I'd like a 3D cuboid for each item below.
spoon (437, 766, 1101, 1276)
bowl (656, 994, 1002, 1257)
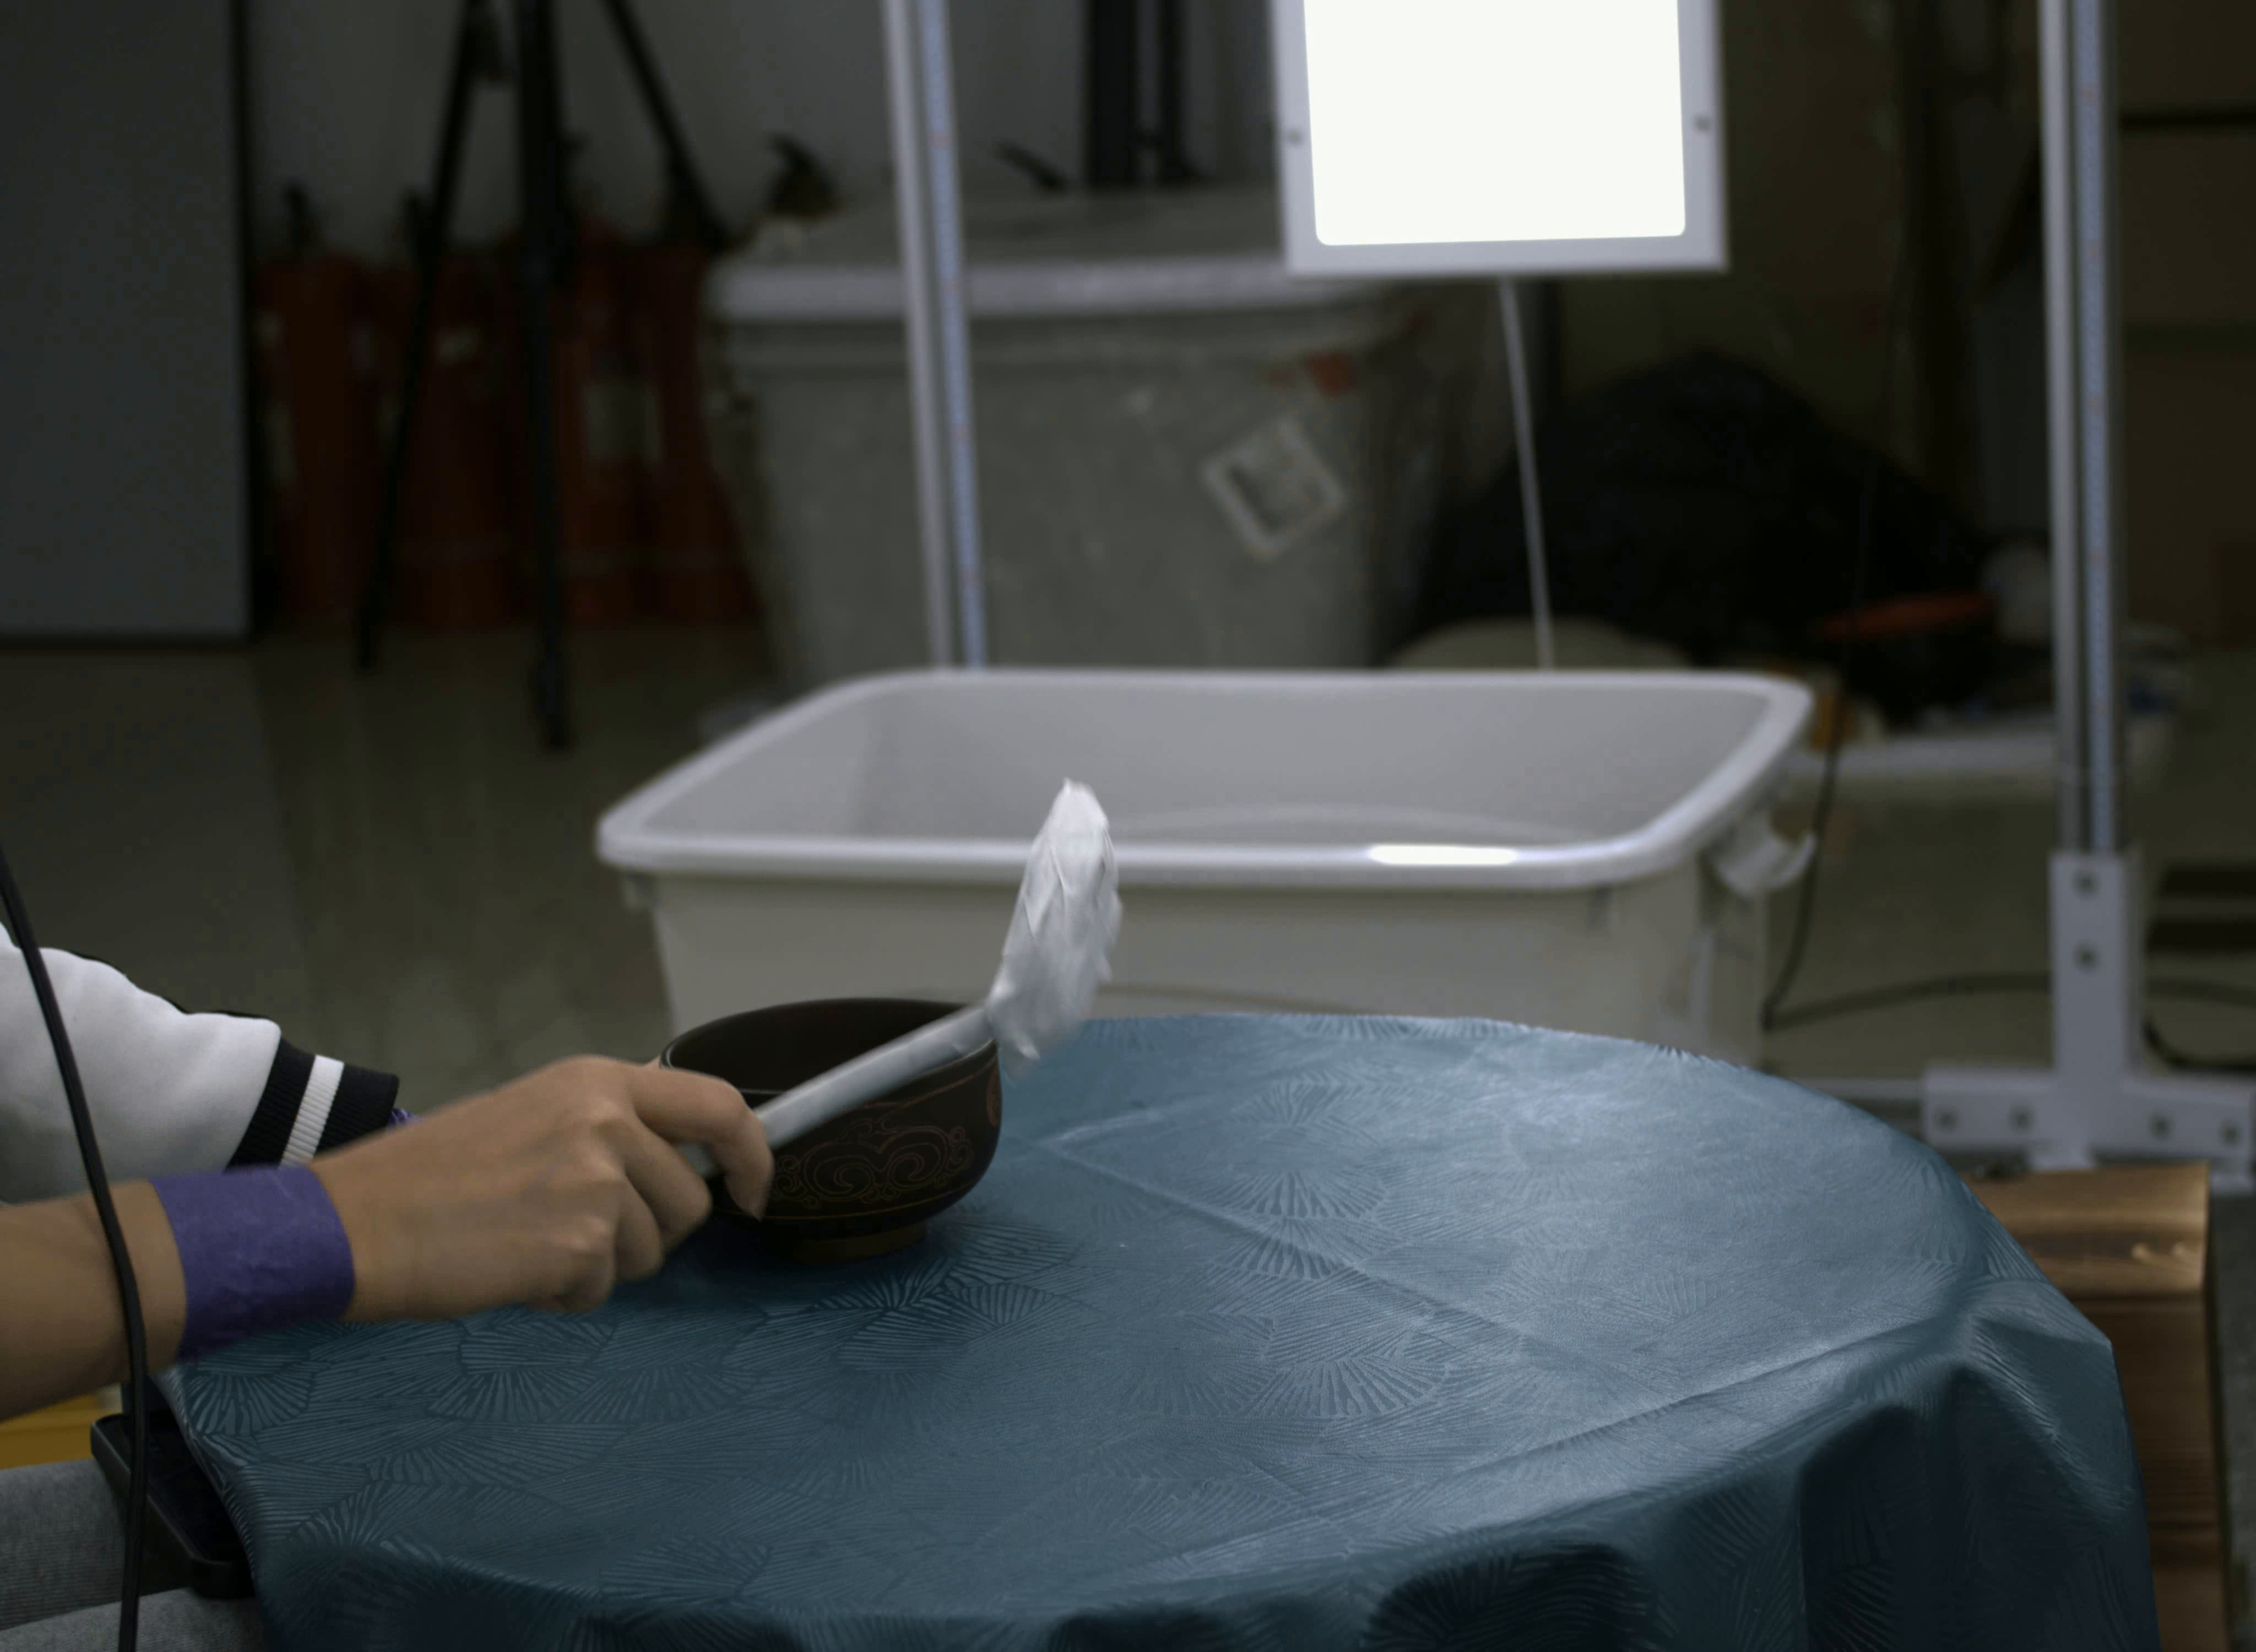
[{"bbox_3d":[-0.107,0.066,1.675,0.271,0.101,0.060,-25,46,-29],"label":"spoon"},{"bbox_3d":[-0.100,0.105,1.870,0.118,0.070,0.118,-5,13,0],"label":"bowl"}]
